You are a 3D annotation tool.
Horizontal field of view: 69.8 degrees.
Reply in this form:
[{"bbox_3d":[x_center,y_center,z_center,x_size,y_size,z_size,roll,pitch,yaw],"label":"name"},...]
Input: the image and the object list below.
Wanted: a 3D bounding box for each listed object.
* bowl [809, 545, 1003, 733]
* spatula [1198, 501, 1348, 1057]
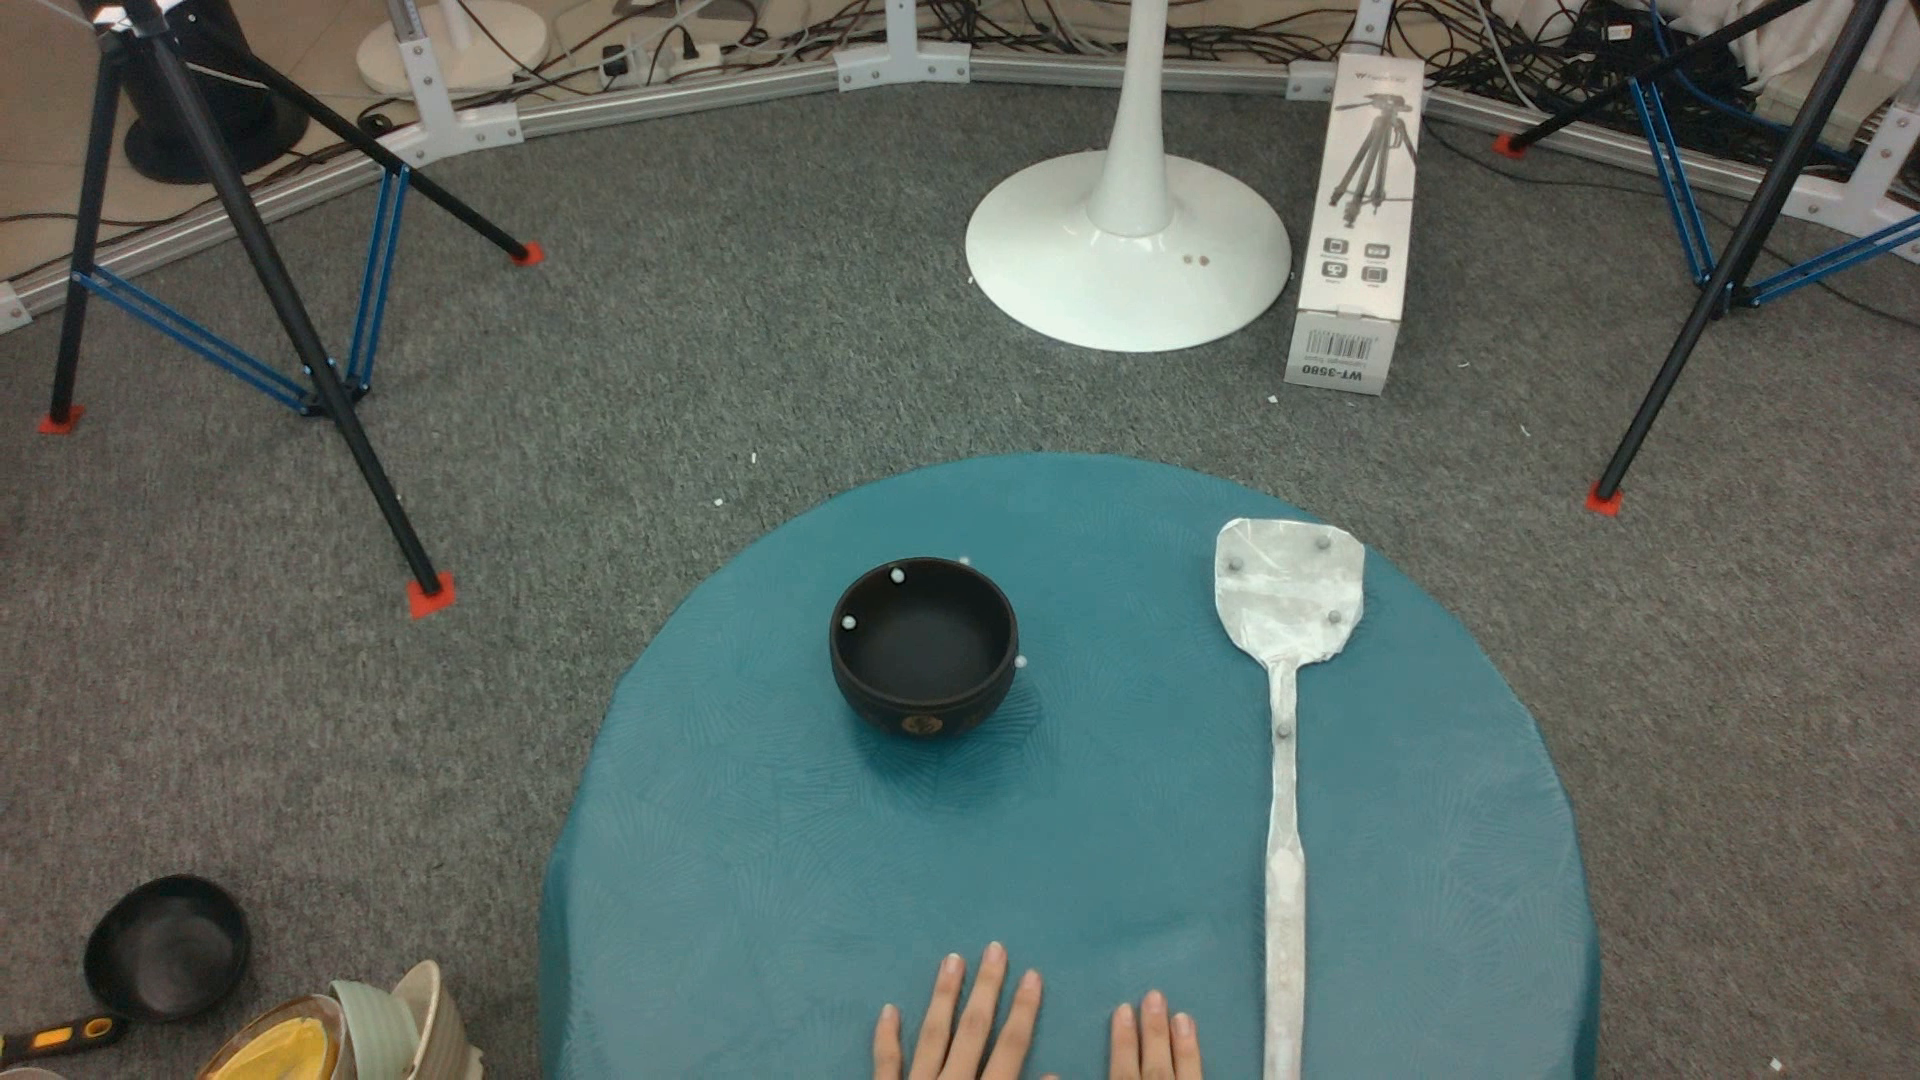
[{"bbox_3d":[-0.032,0.068,0.855,0.118,0.069,0.118,-1,51,1],"label":"bowl"},{"bbox_3d":[0.182,0.126,0.830,0.098,0.044,0.367,9,49,5],"label":"spatula"}]
